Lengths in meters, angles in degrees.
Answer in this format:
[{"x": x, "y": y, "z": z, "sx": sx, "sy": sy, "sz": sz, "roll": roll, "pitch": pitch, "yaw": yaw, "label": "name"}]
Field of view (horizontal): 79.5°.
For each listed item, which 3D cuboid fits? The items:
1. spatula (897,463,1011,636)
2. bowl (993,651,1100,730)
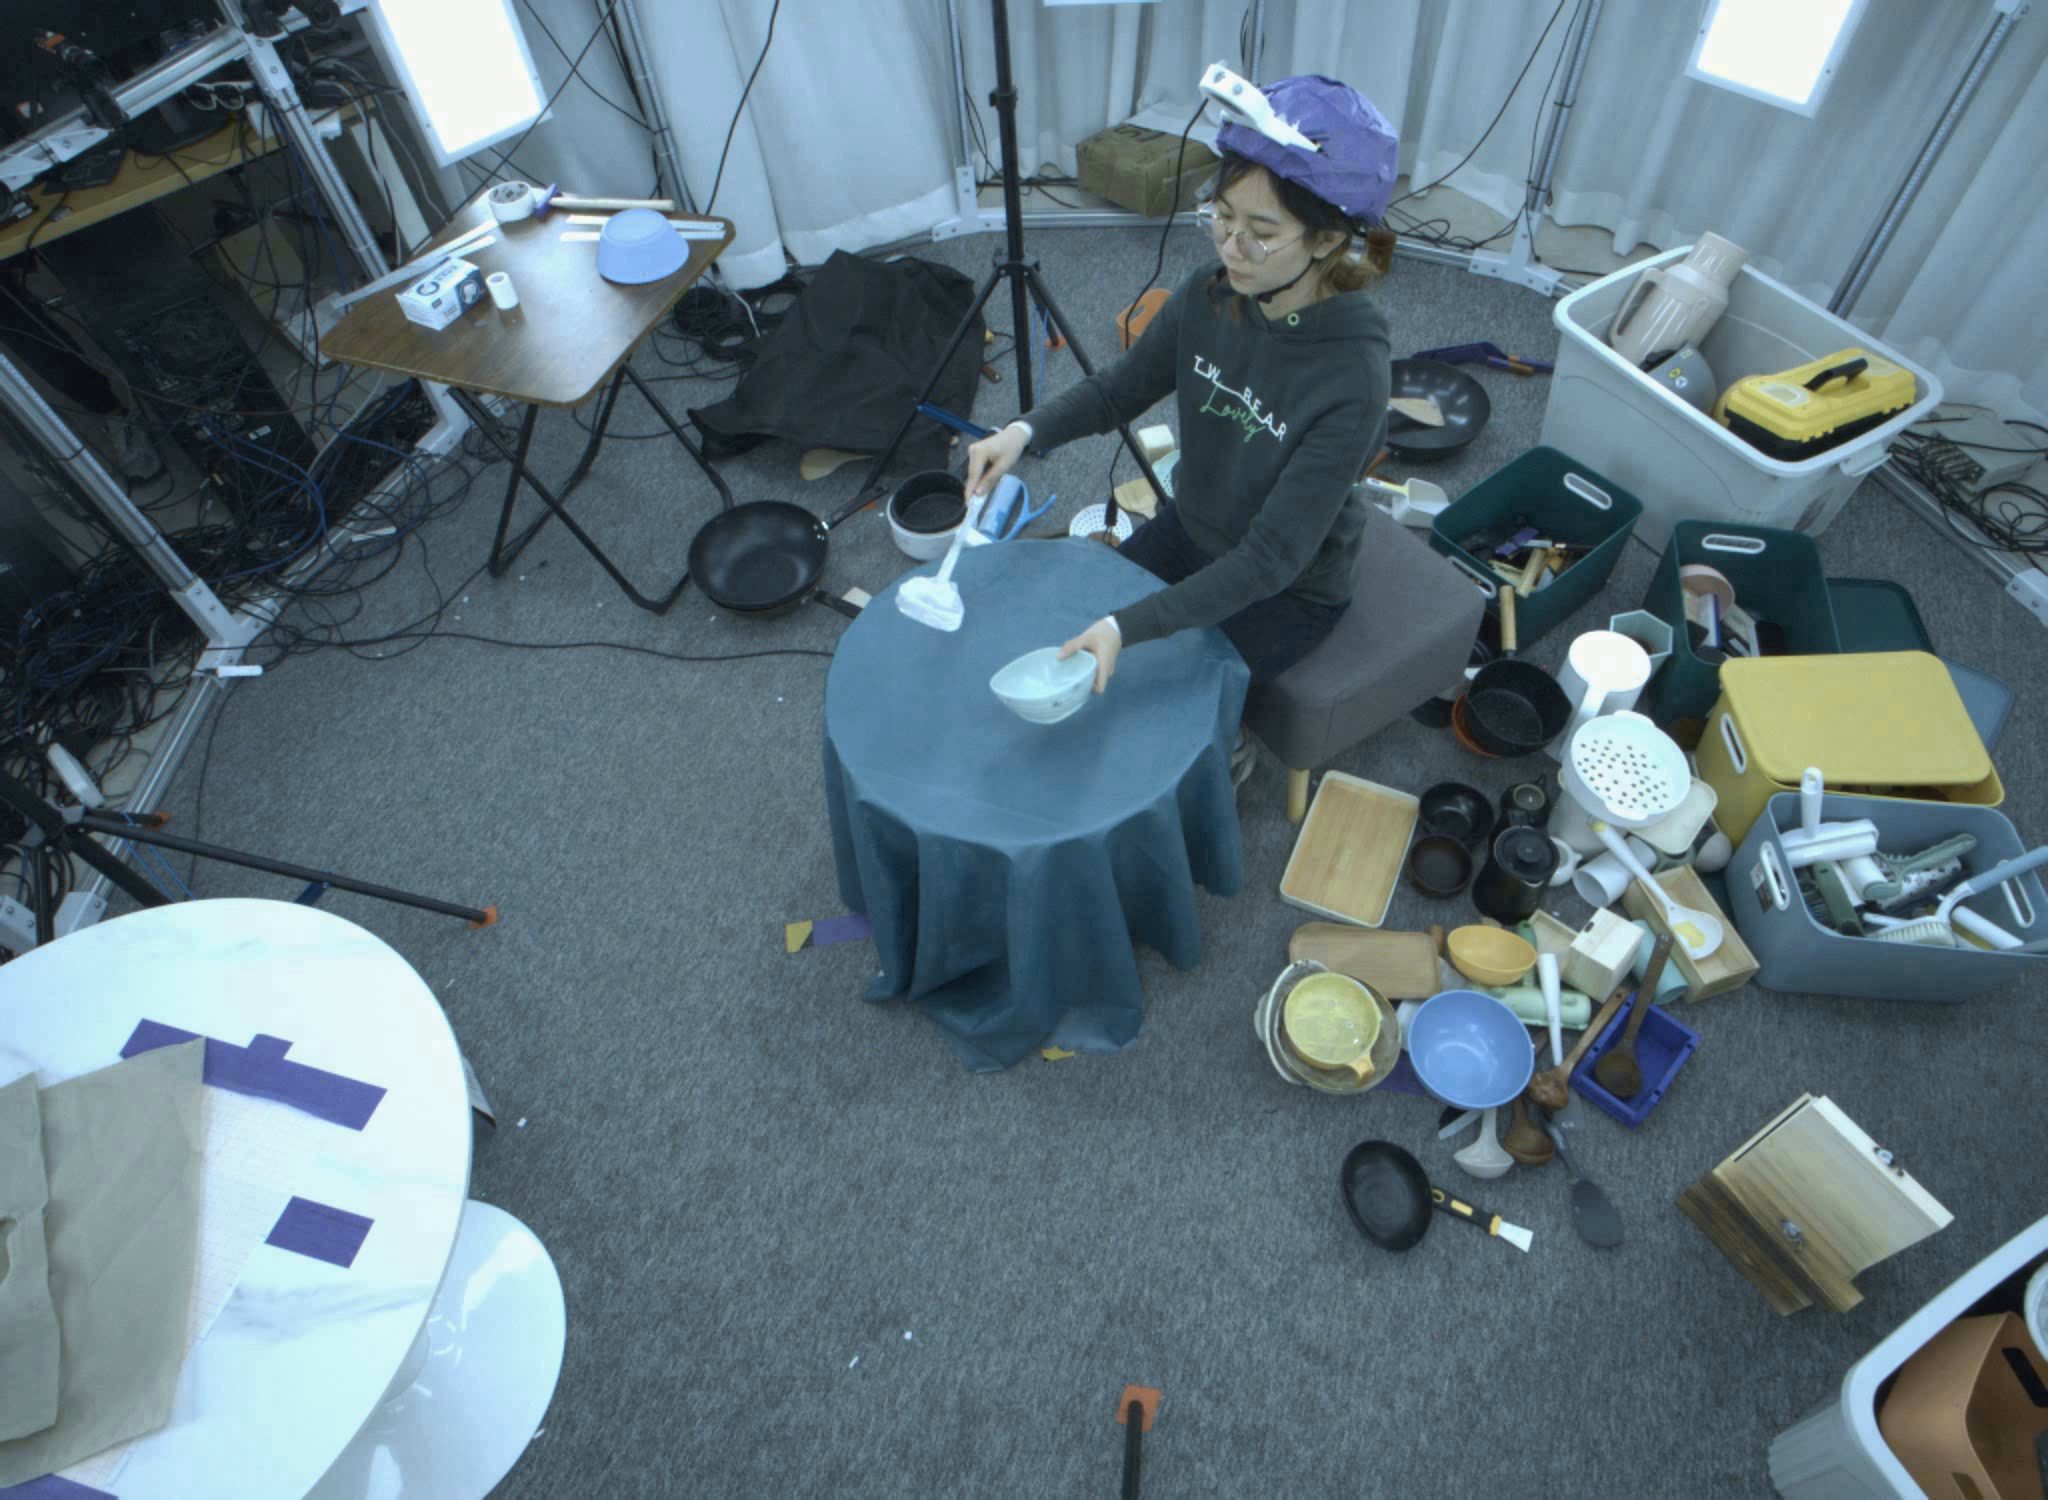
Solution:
[{"x": -0.085, "y": -0.311, "z": 1.793, "sx": 0.099, "sy": 0.044, "sz": 0.364, "roll": 24, "pitch": 62, "yaw": -6, "label": "spatula"}, {"x": 0.037, "y": -0.077, "z": 1.715, "sx": 0.151, "sy": 0.059, "sz": 0.150, "roll": -10, "pitch": 32, "yaw": 8, "label": "bowl"}]
